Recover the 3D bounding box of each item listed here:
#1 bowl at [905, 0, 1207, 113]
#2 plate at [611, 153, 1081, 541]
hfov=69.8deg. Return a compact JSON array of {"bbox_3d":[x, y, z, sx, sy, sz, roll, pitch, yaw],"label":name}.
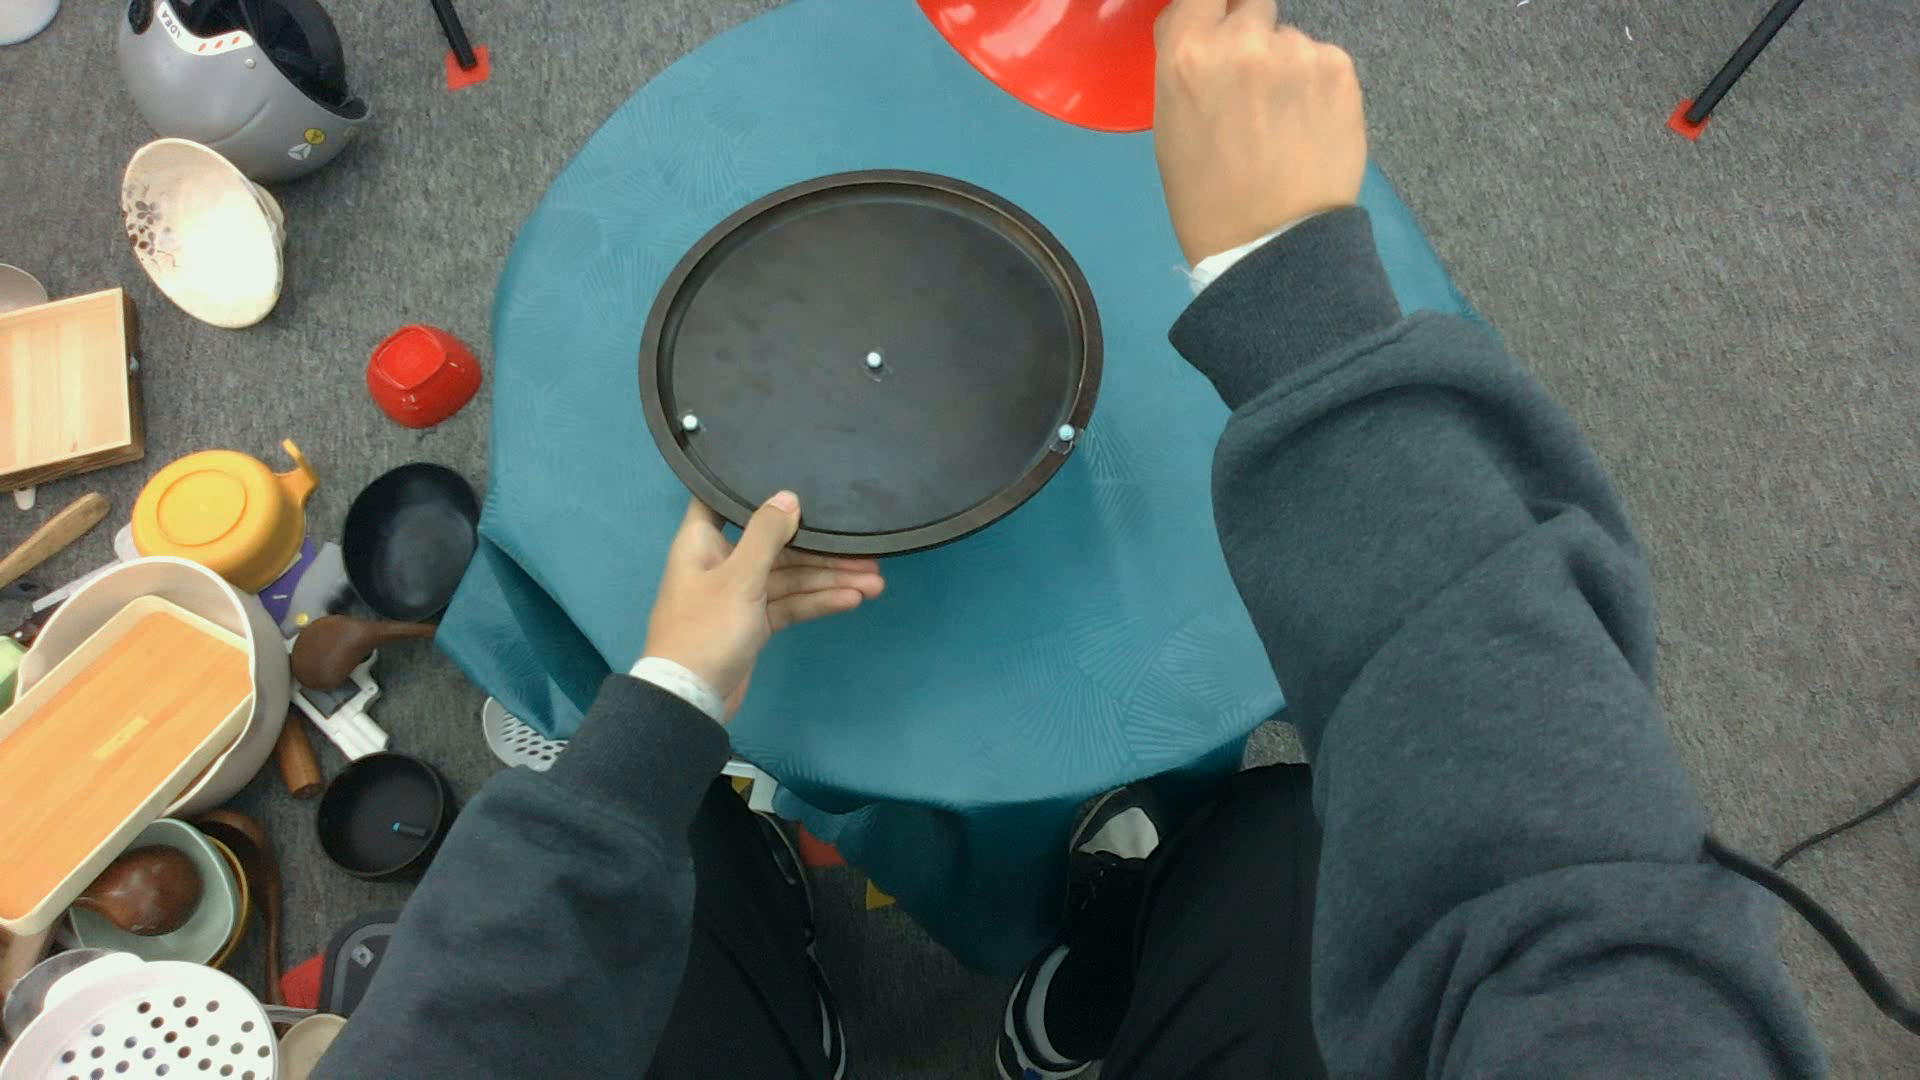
[{"bbox_3d":[0.047,-0.258,0.561,0.148,0.147,0.105,38,80,14],"label":"bowl"},{"bbox_3d":[-0.062,-0.111,0.749,0.255,0.029,0.256,0,63,0],"label":"plate"}]
